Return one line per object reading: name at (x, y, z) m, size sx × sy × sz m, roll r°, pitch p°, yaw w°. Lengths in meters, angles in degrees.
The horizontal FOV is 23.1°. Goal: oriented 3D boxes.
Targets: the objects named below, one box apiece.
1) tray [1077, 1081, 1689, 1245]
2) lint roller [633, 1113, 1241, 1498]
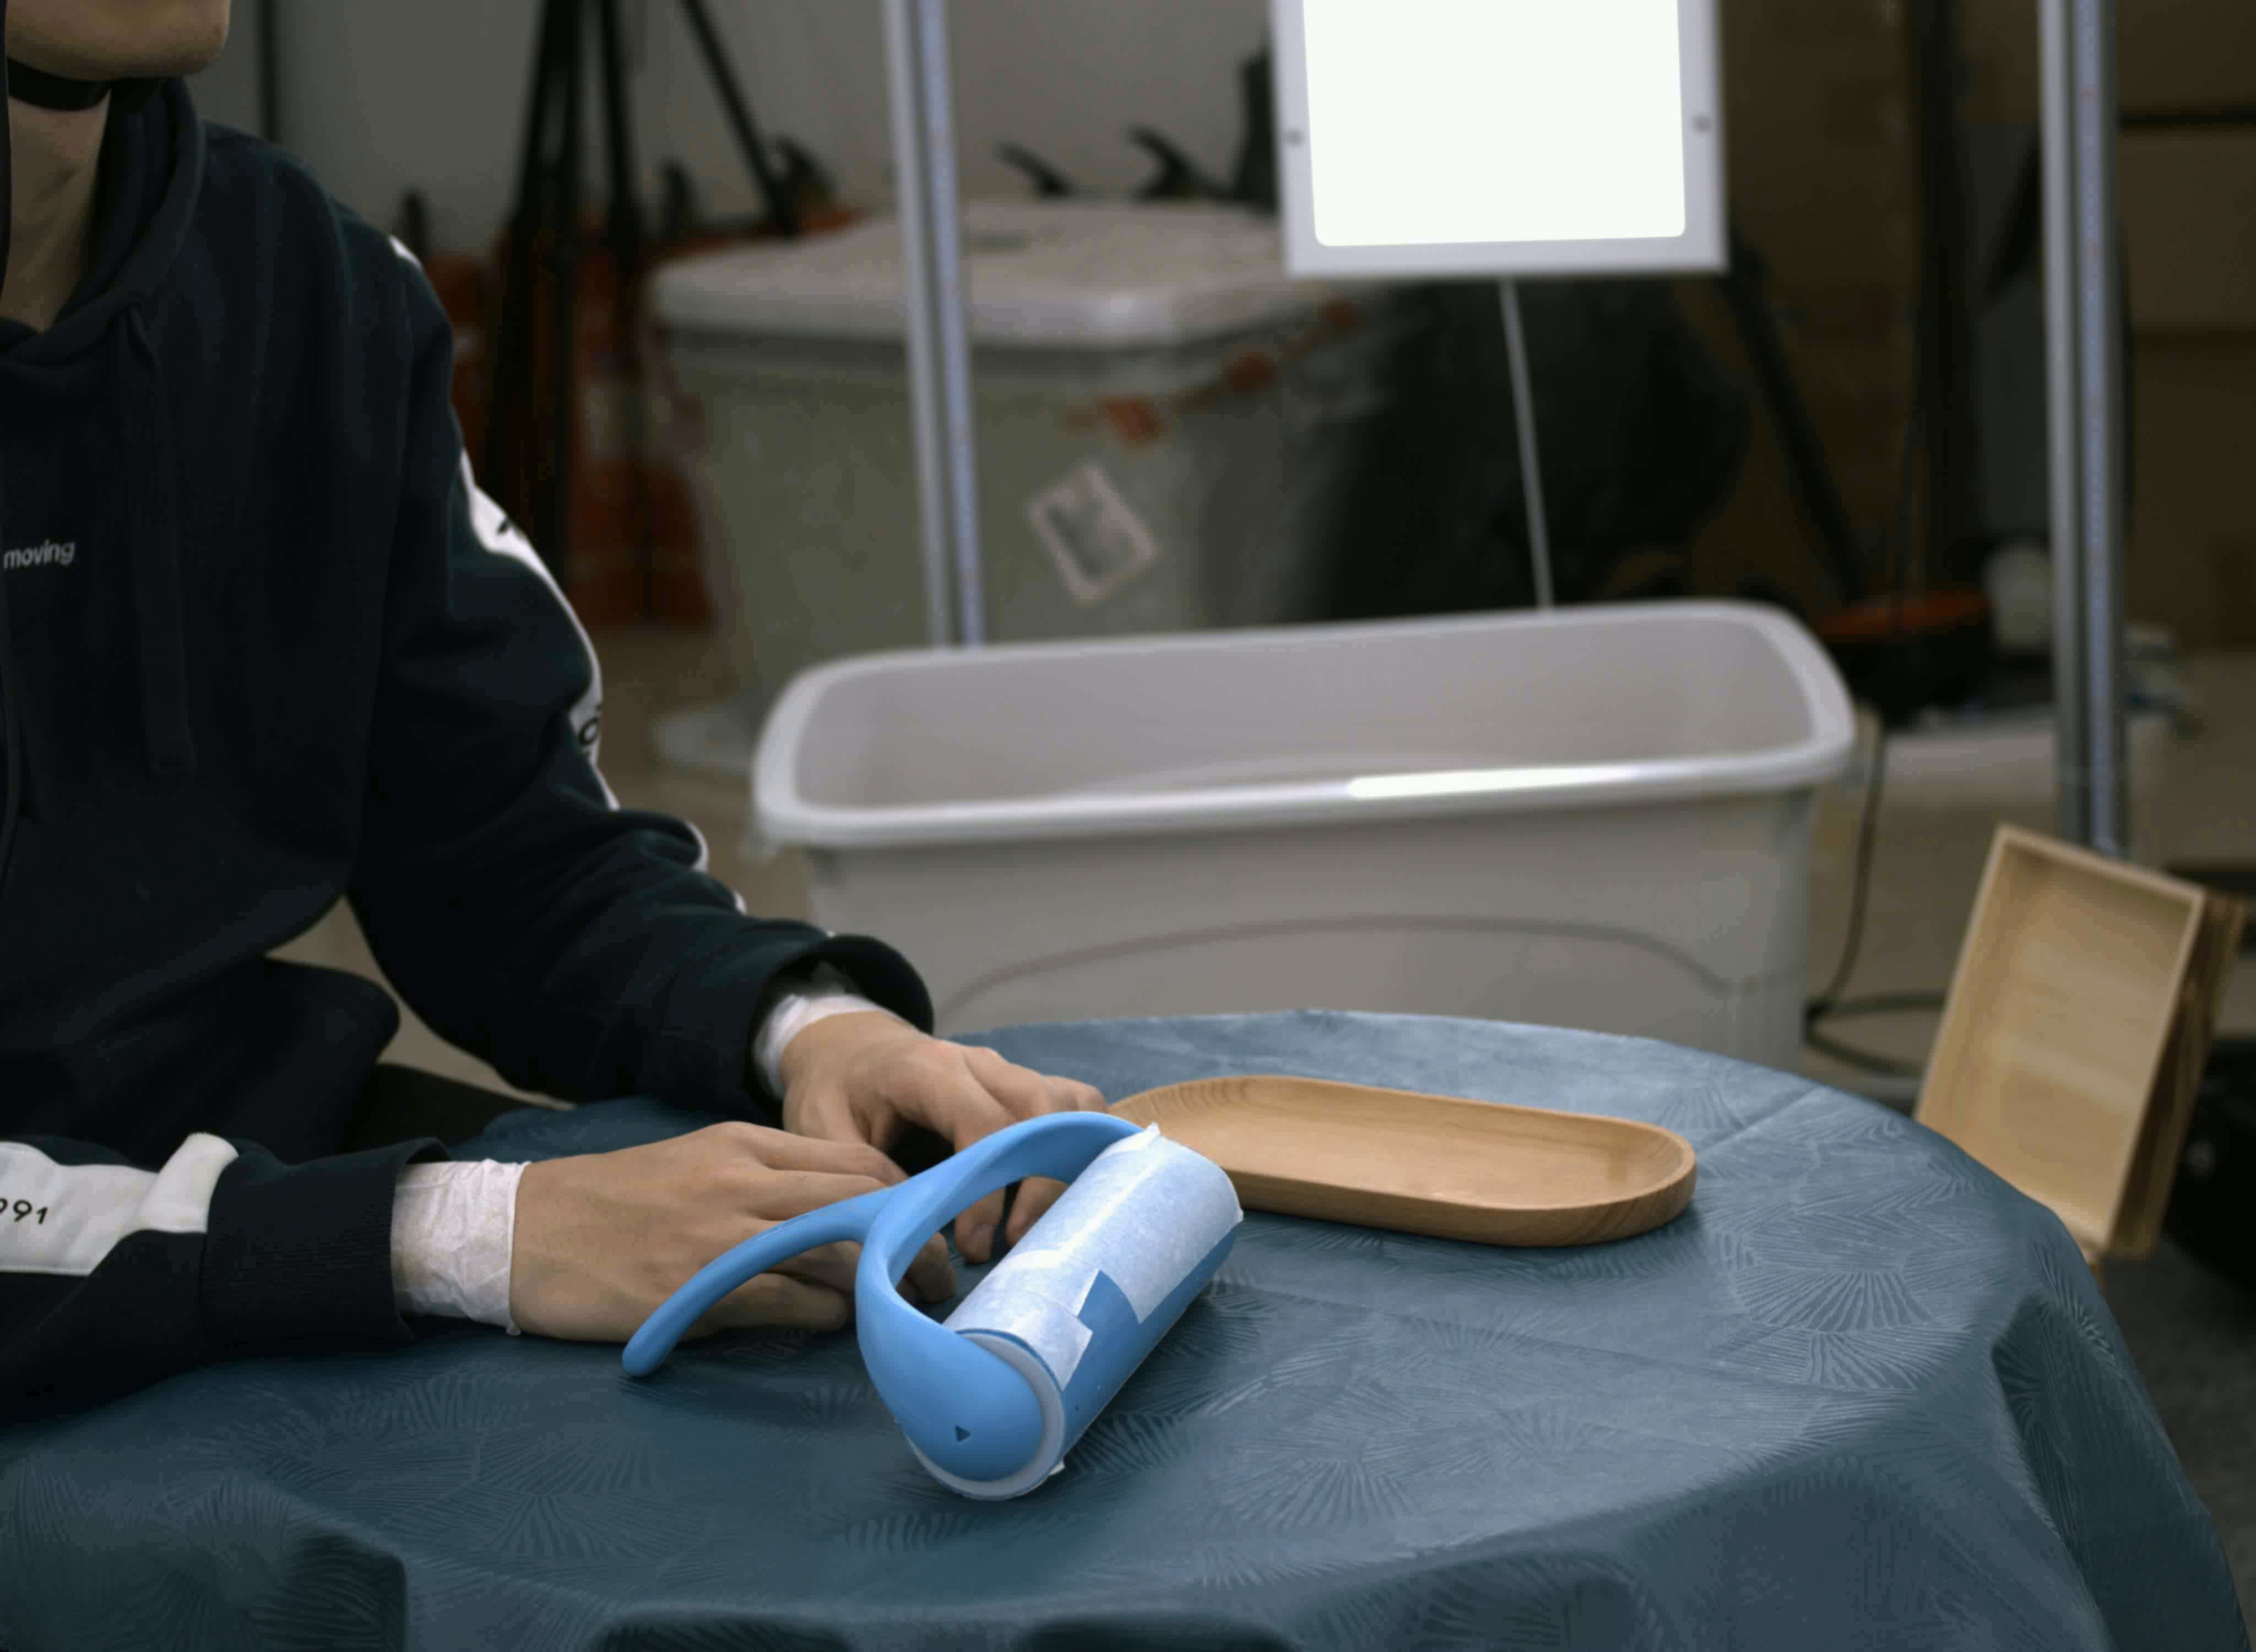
tray at (0.085, 0.115, 1.879) m, size 0.236 × 0.020 × 0.099 m, roll 3°, pitch 15°, yaw 37°
lint roller at (-0.072, 0.147, 1.716) m, size 0.182 × 0.068 × 0.226 m, roll -1°, pitch 16°, yaw 15°
